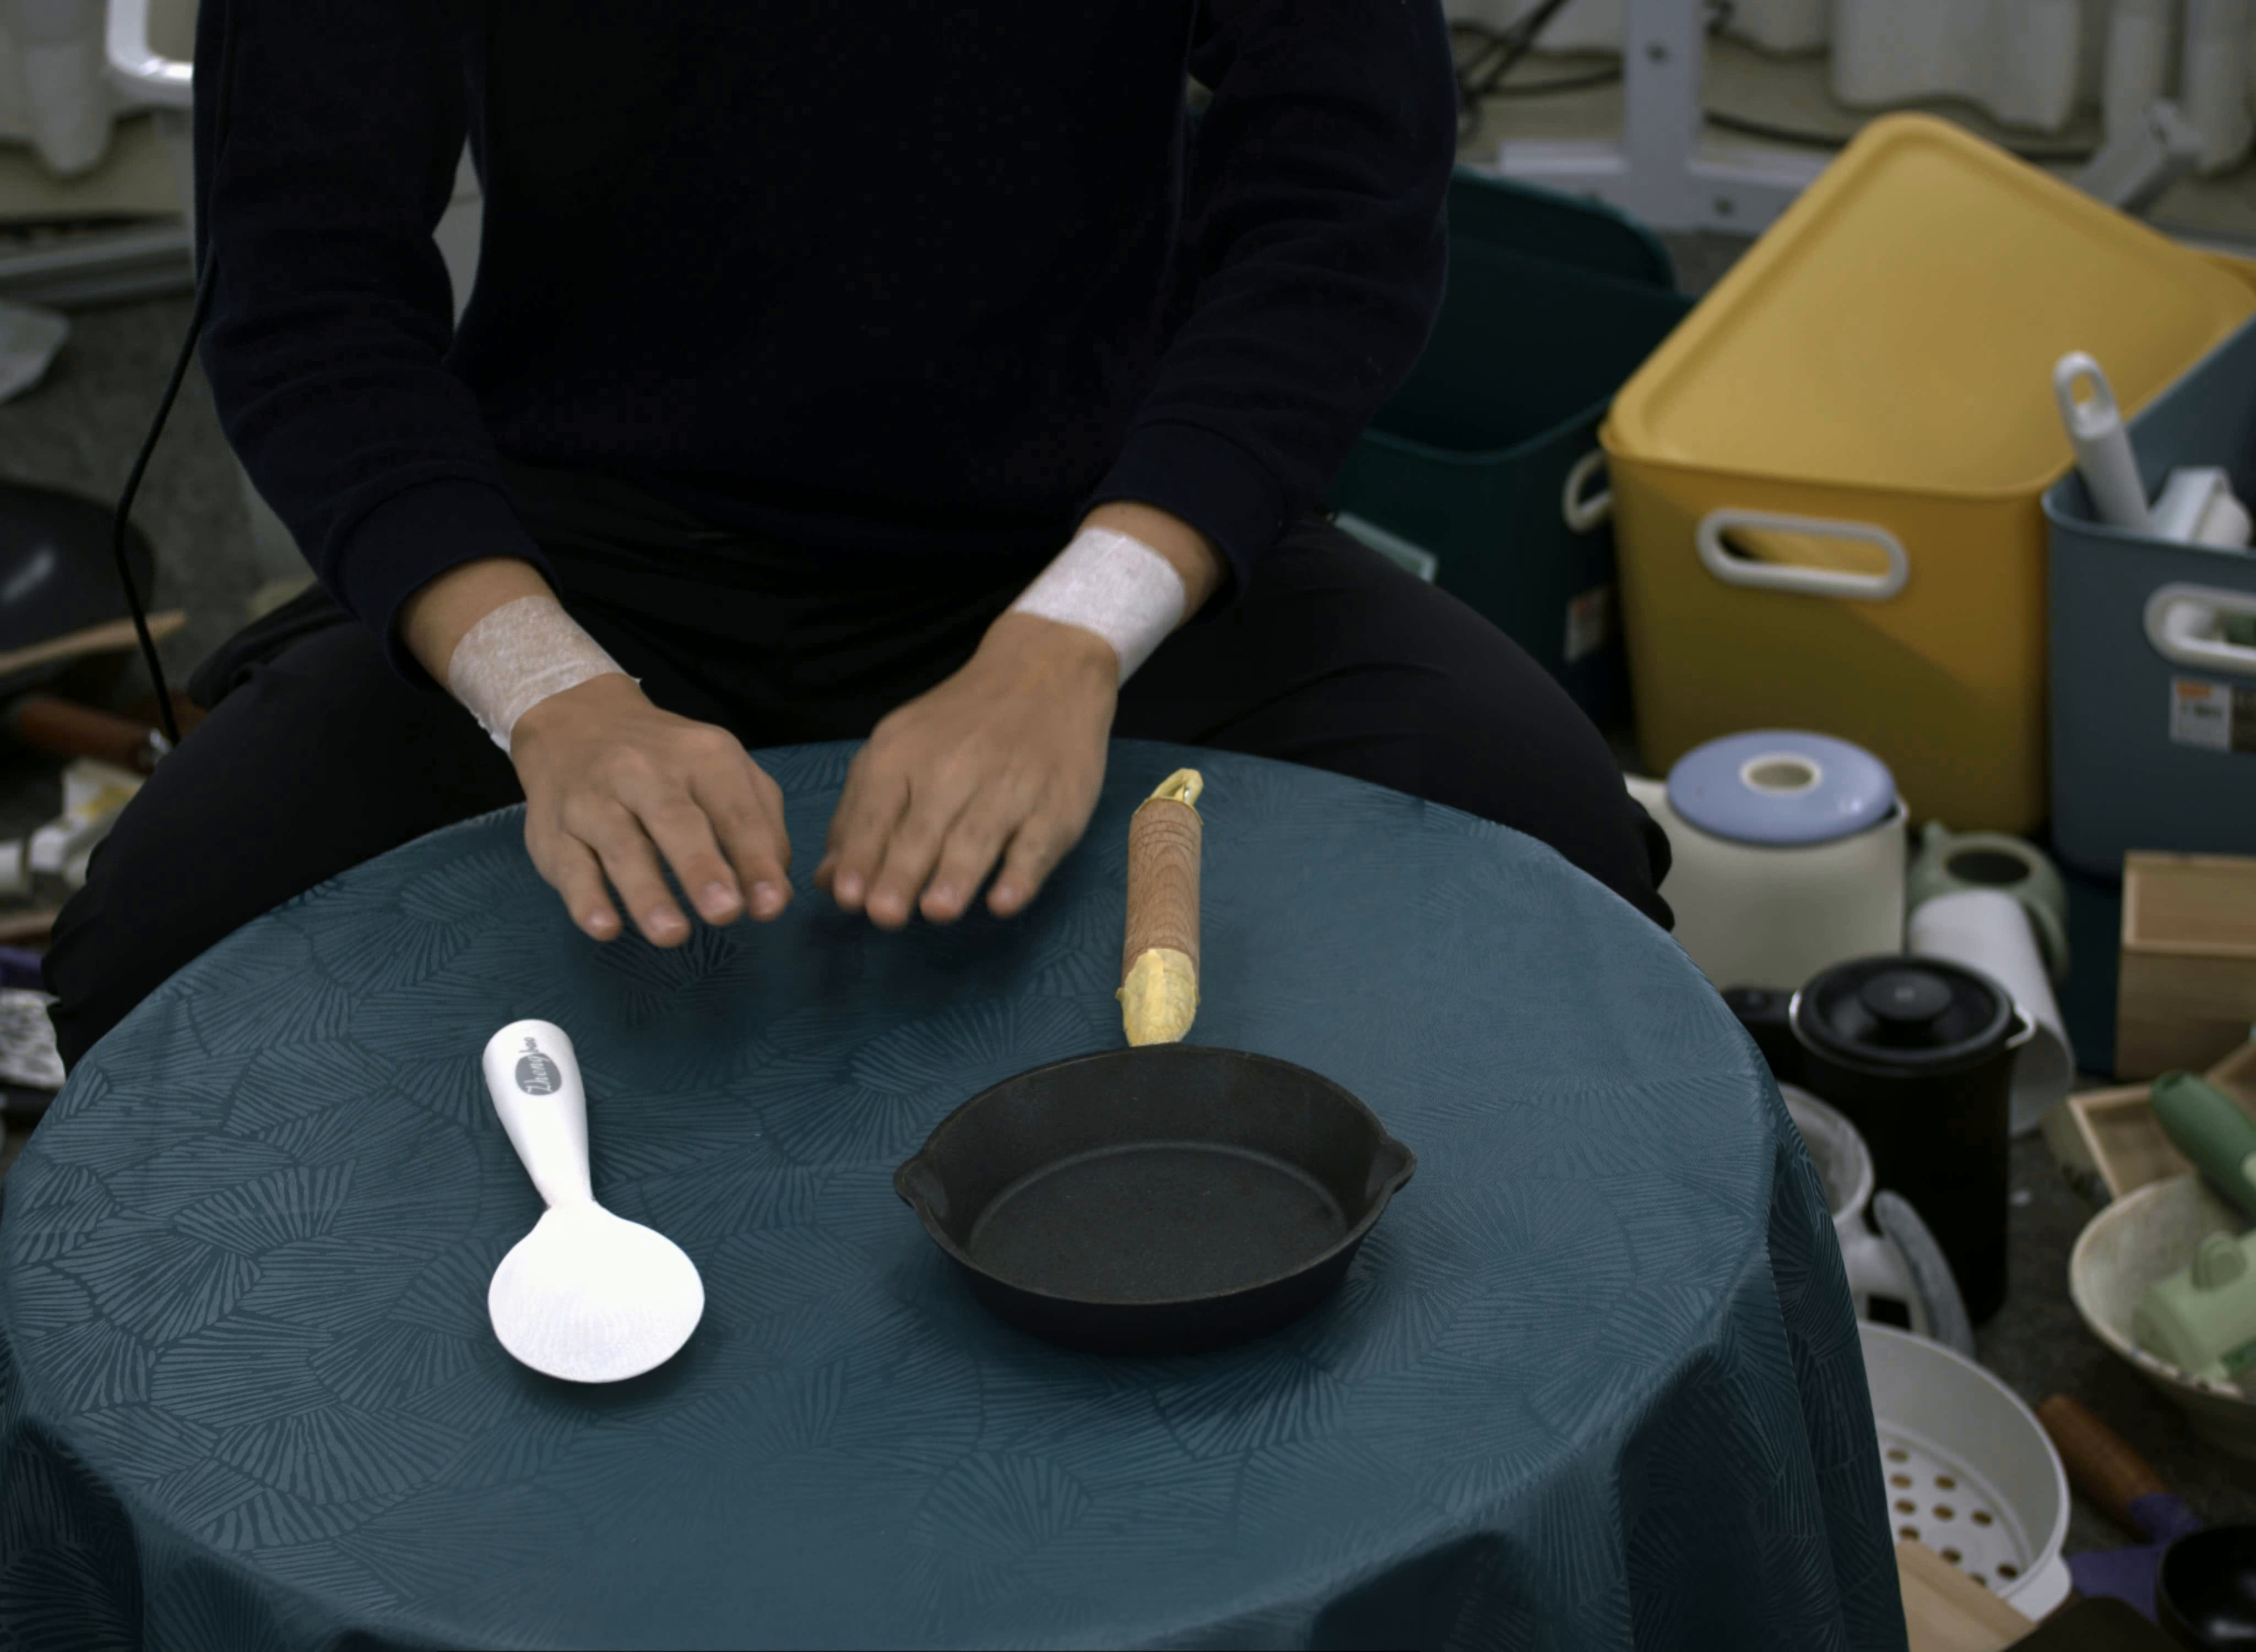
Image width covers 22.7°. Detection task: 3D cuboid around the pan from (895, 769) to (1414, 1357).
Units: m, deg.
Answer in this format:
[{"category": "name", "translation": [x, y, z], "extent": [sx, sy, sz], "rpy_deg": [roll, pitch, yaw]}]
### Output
[{"category": "pan", "translation": [0.013, 0.077, 1.893], "extent": [0.168, 0.049, 0.329], "rpy_deg": [-1, 29, 4]}]

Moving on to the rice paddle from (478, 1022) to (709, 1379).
[{"category": "rice paddle", "translation": [-0.183, 0.125, 1.843], "extent": [0.069, 0.029, 0.207], "rpy_deg": [-12, 28, -10]}]
